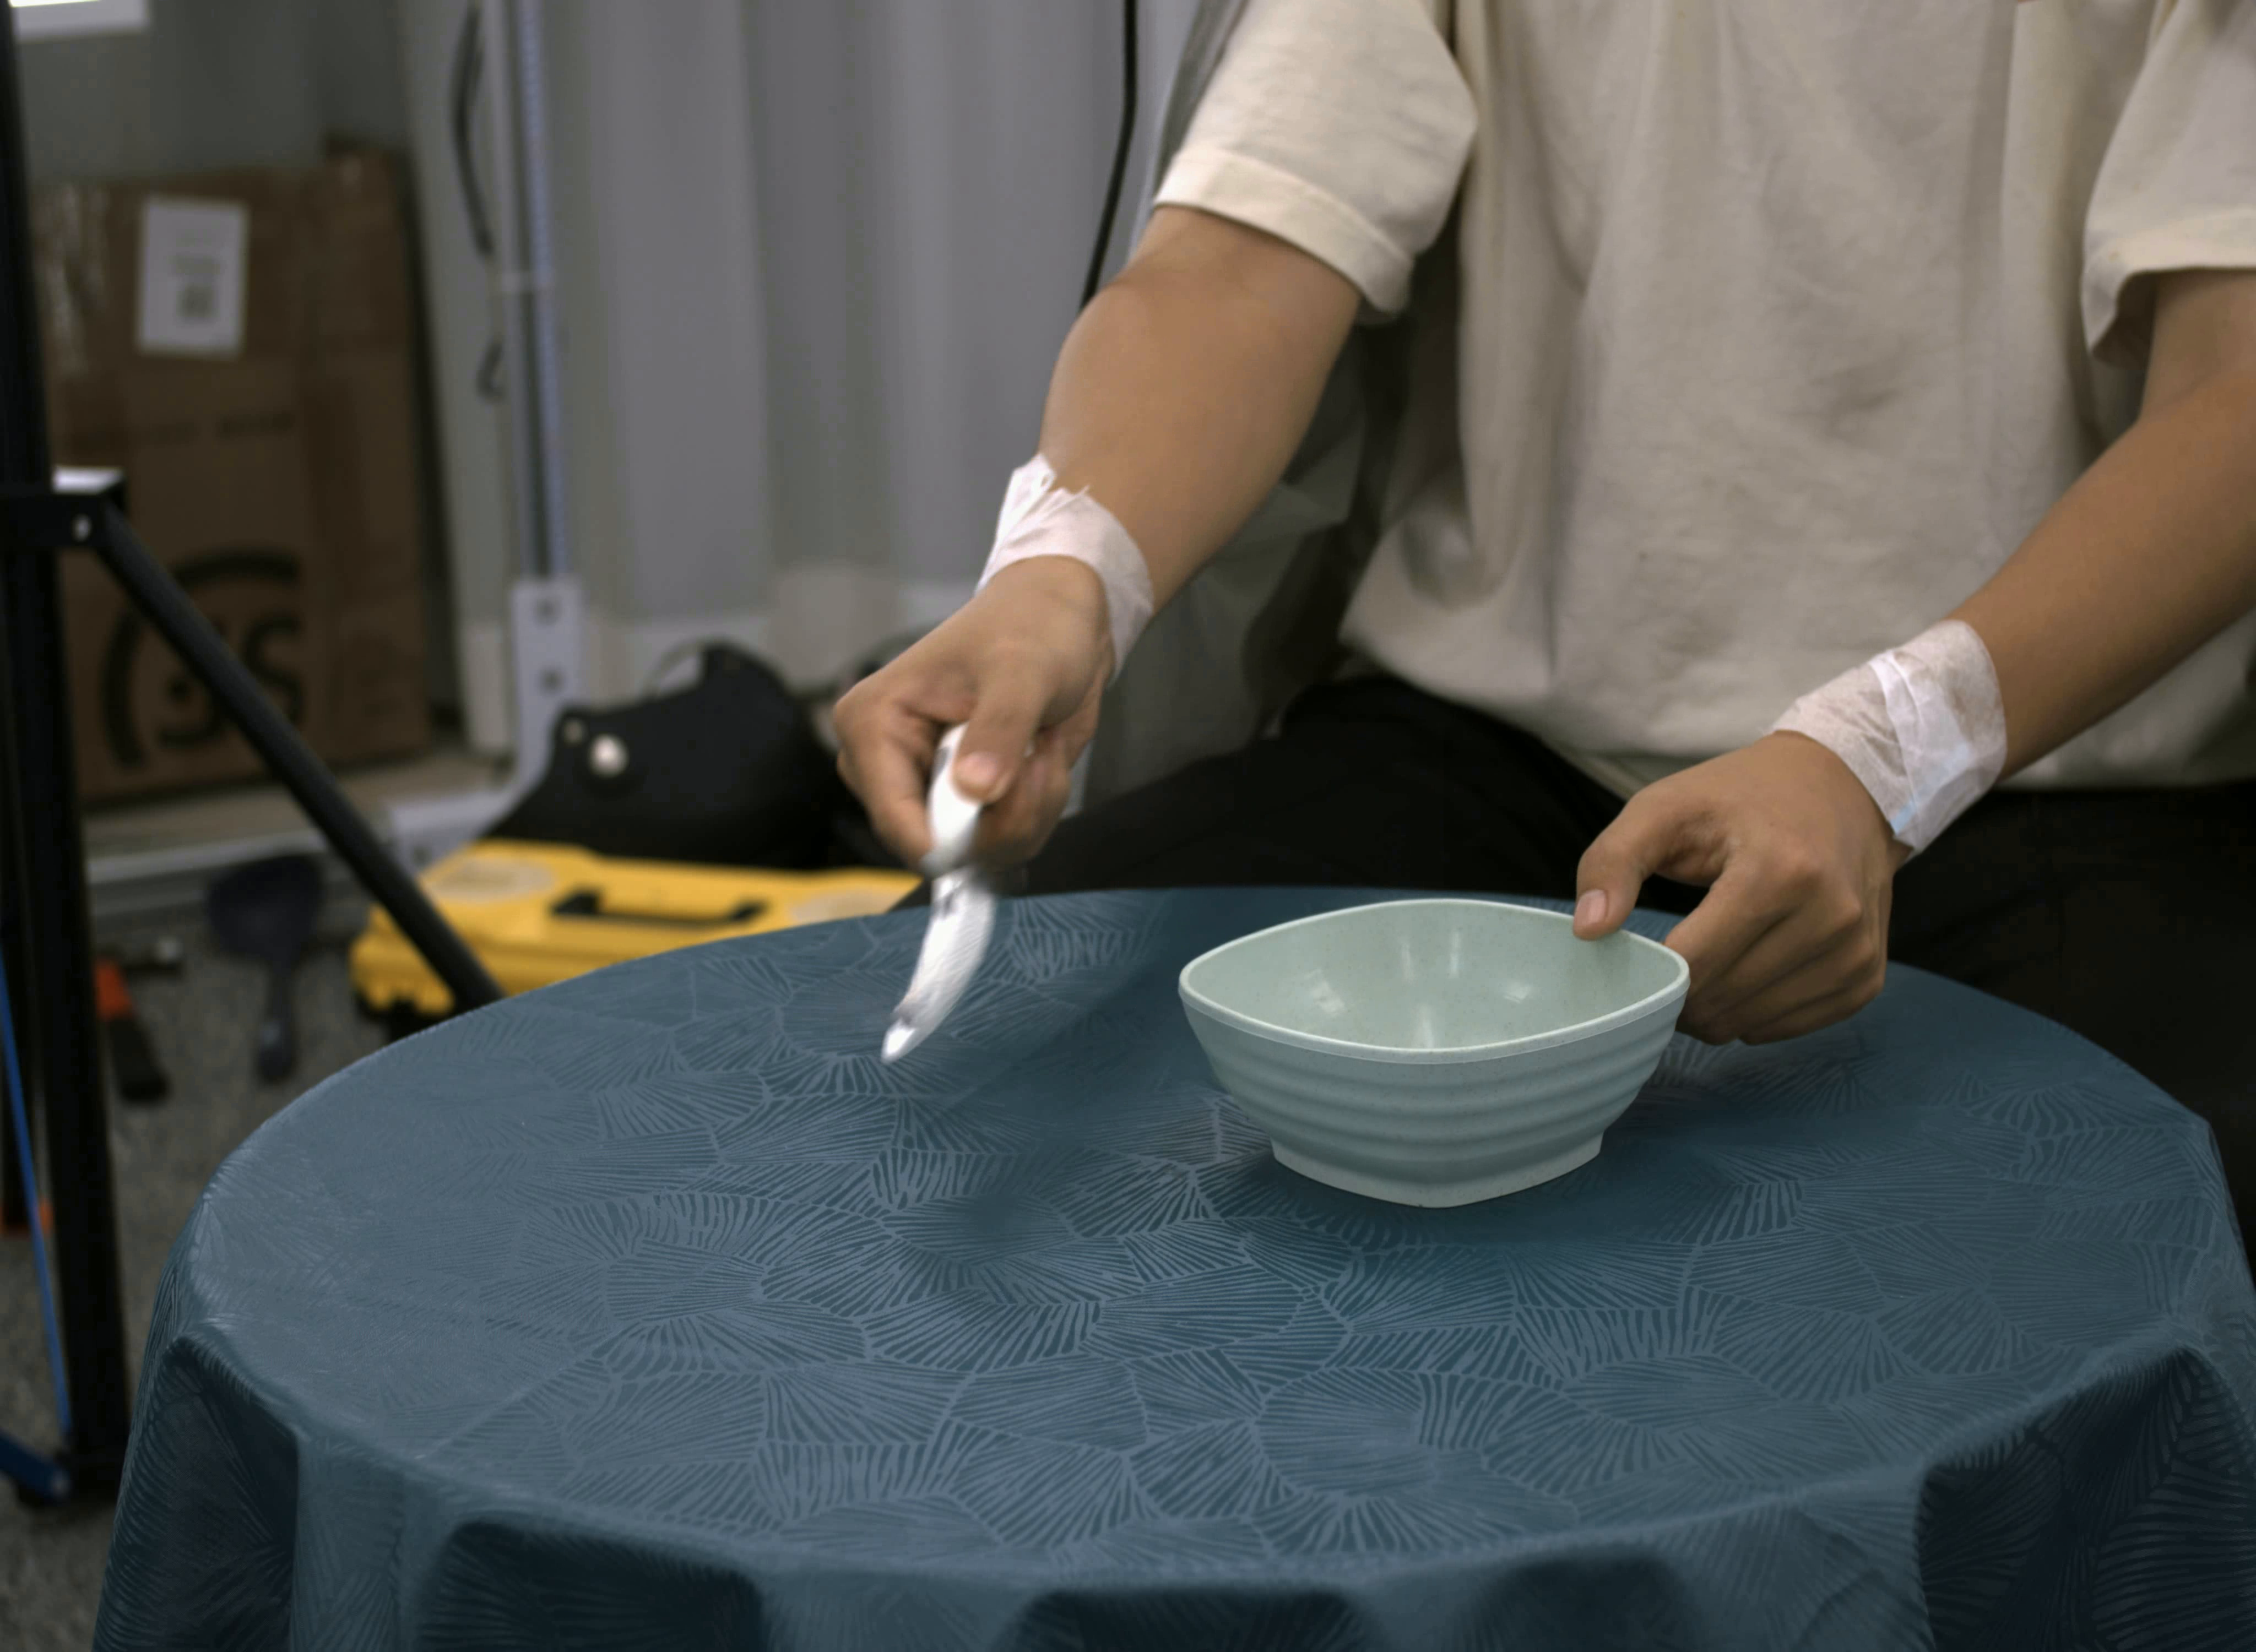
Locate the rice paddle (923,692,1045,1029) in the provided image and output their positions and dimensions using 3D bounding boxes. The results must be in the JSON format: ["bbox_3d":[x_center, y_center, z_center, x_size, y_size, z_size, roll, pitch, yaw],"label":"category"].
[{"bbox_3d":[-0.045,0.005,1.595,0.029,0.069,0.206,20,19,-5],"label":"rice paddle"}]

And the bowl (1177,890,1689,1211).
[{"bbox_3d":[0.092,0.070,1.569,0.151,0.058,0.152,-5,17,0],"label":"bowl"}]
